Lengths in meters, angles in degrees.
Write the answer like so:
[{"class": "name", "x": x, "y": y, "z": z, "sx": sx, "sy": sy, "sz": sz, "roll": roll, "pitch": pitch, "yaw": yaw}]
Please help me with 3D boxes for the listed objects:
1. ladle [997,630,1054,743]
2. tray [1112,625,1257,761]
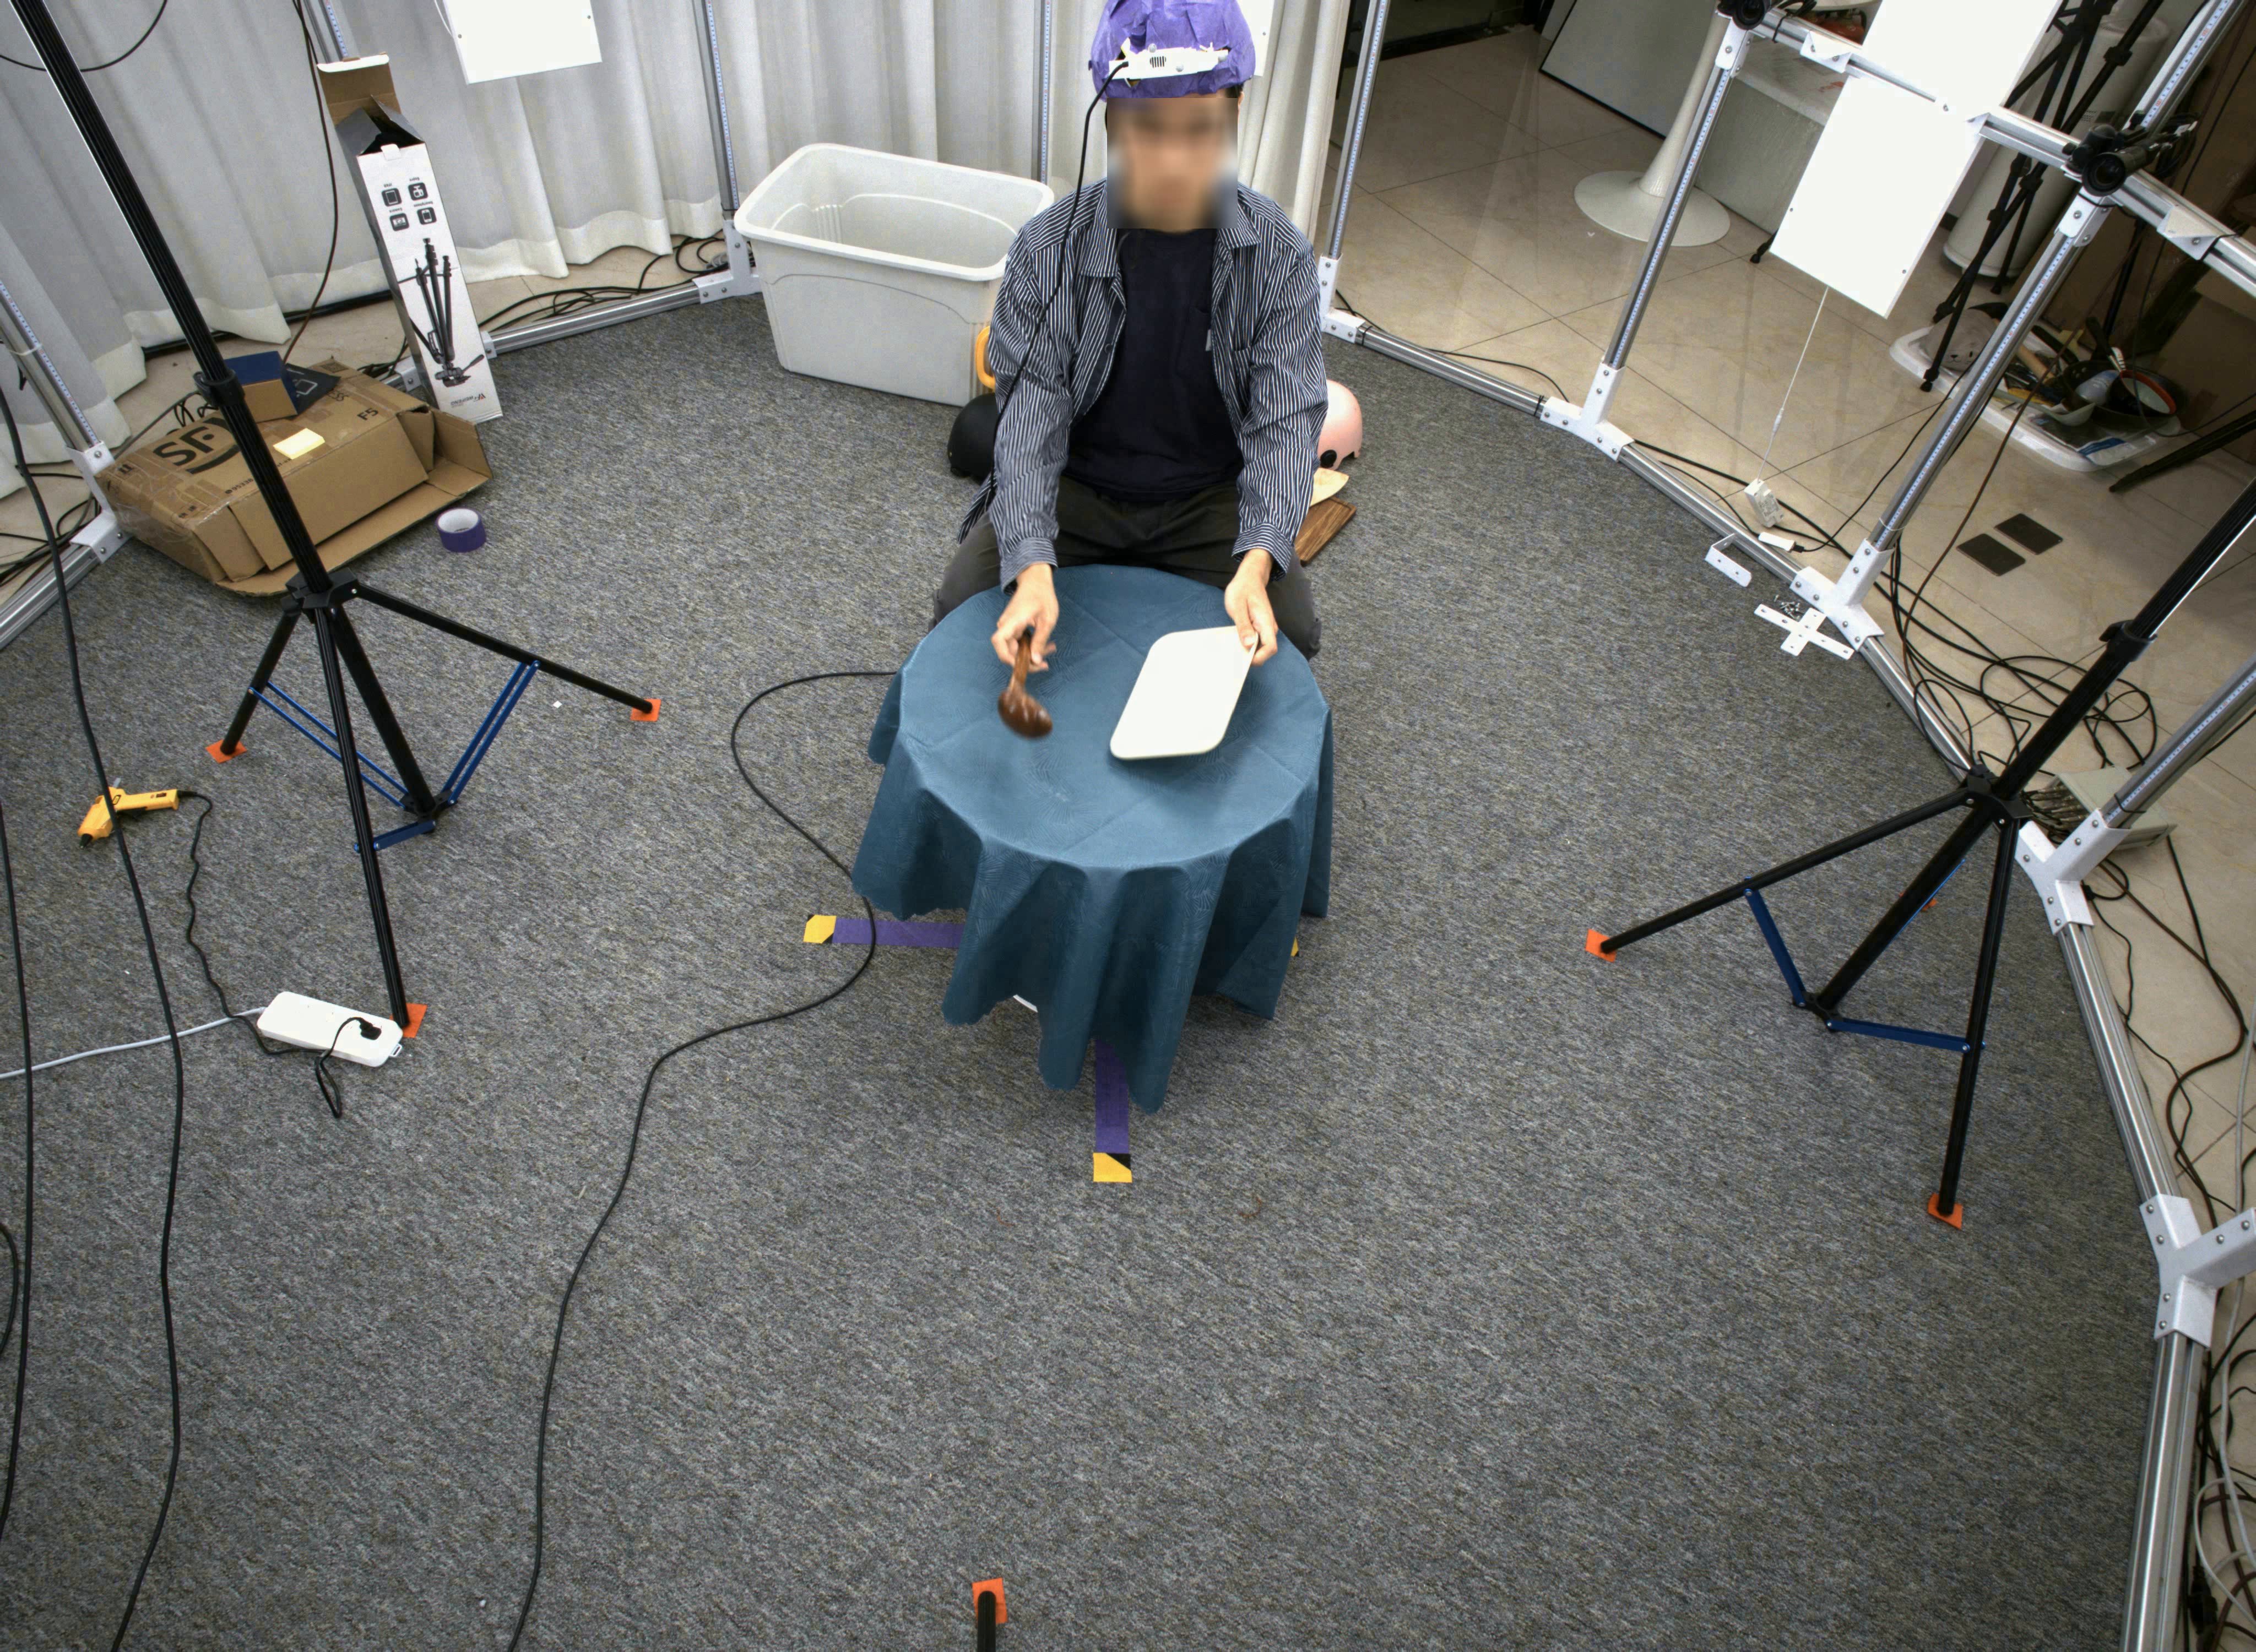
[{"class": "ladle", "x": -0.126, "y": -0.203, "z": 1.715, "sx": 0.076, "sy": 0.080, "sz": 0.280, "roll": -23, "pitch": 32, "yaw": 21}, {"class": "tray", "x": 0.080, "y": -0.181, "z": 1.752, "sx": 0.171, "sy": 0.017, "sz": 0.245, "roll": -4, "pitch": 47, "yaw": 29}]
